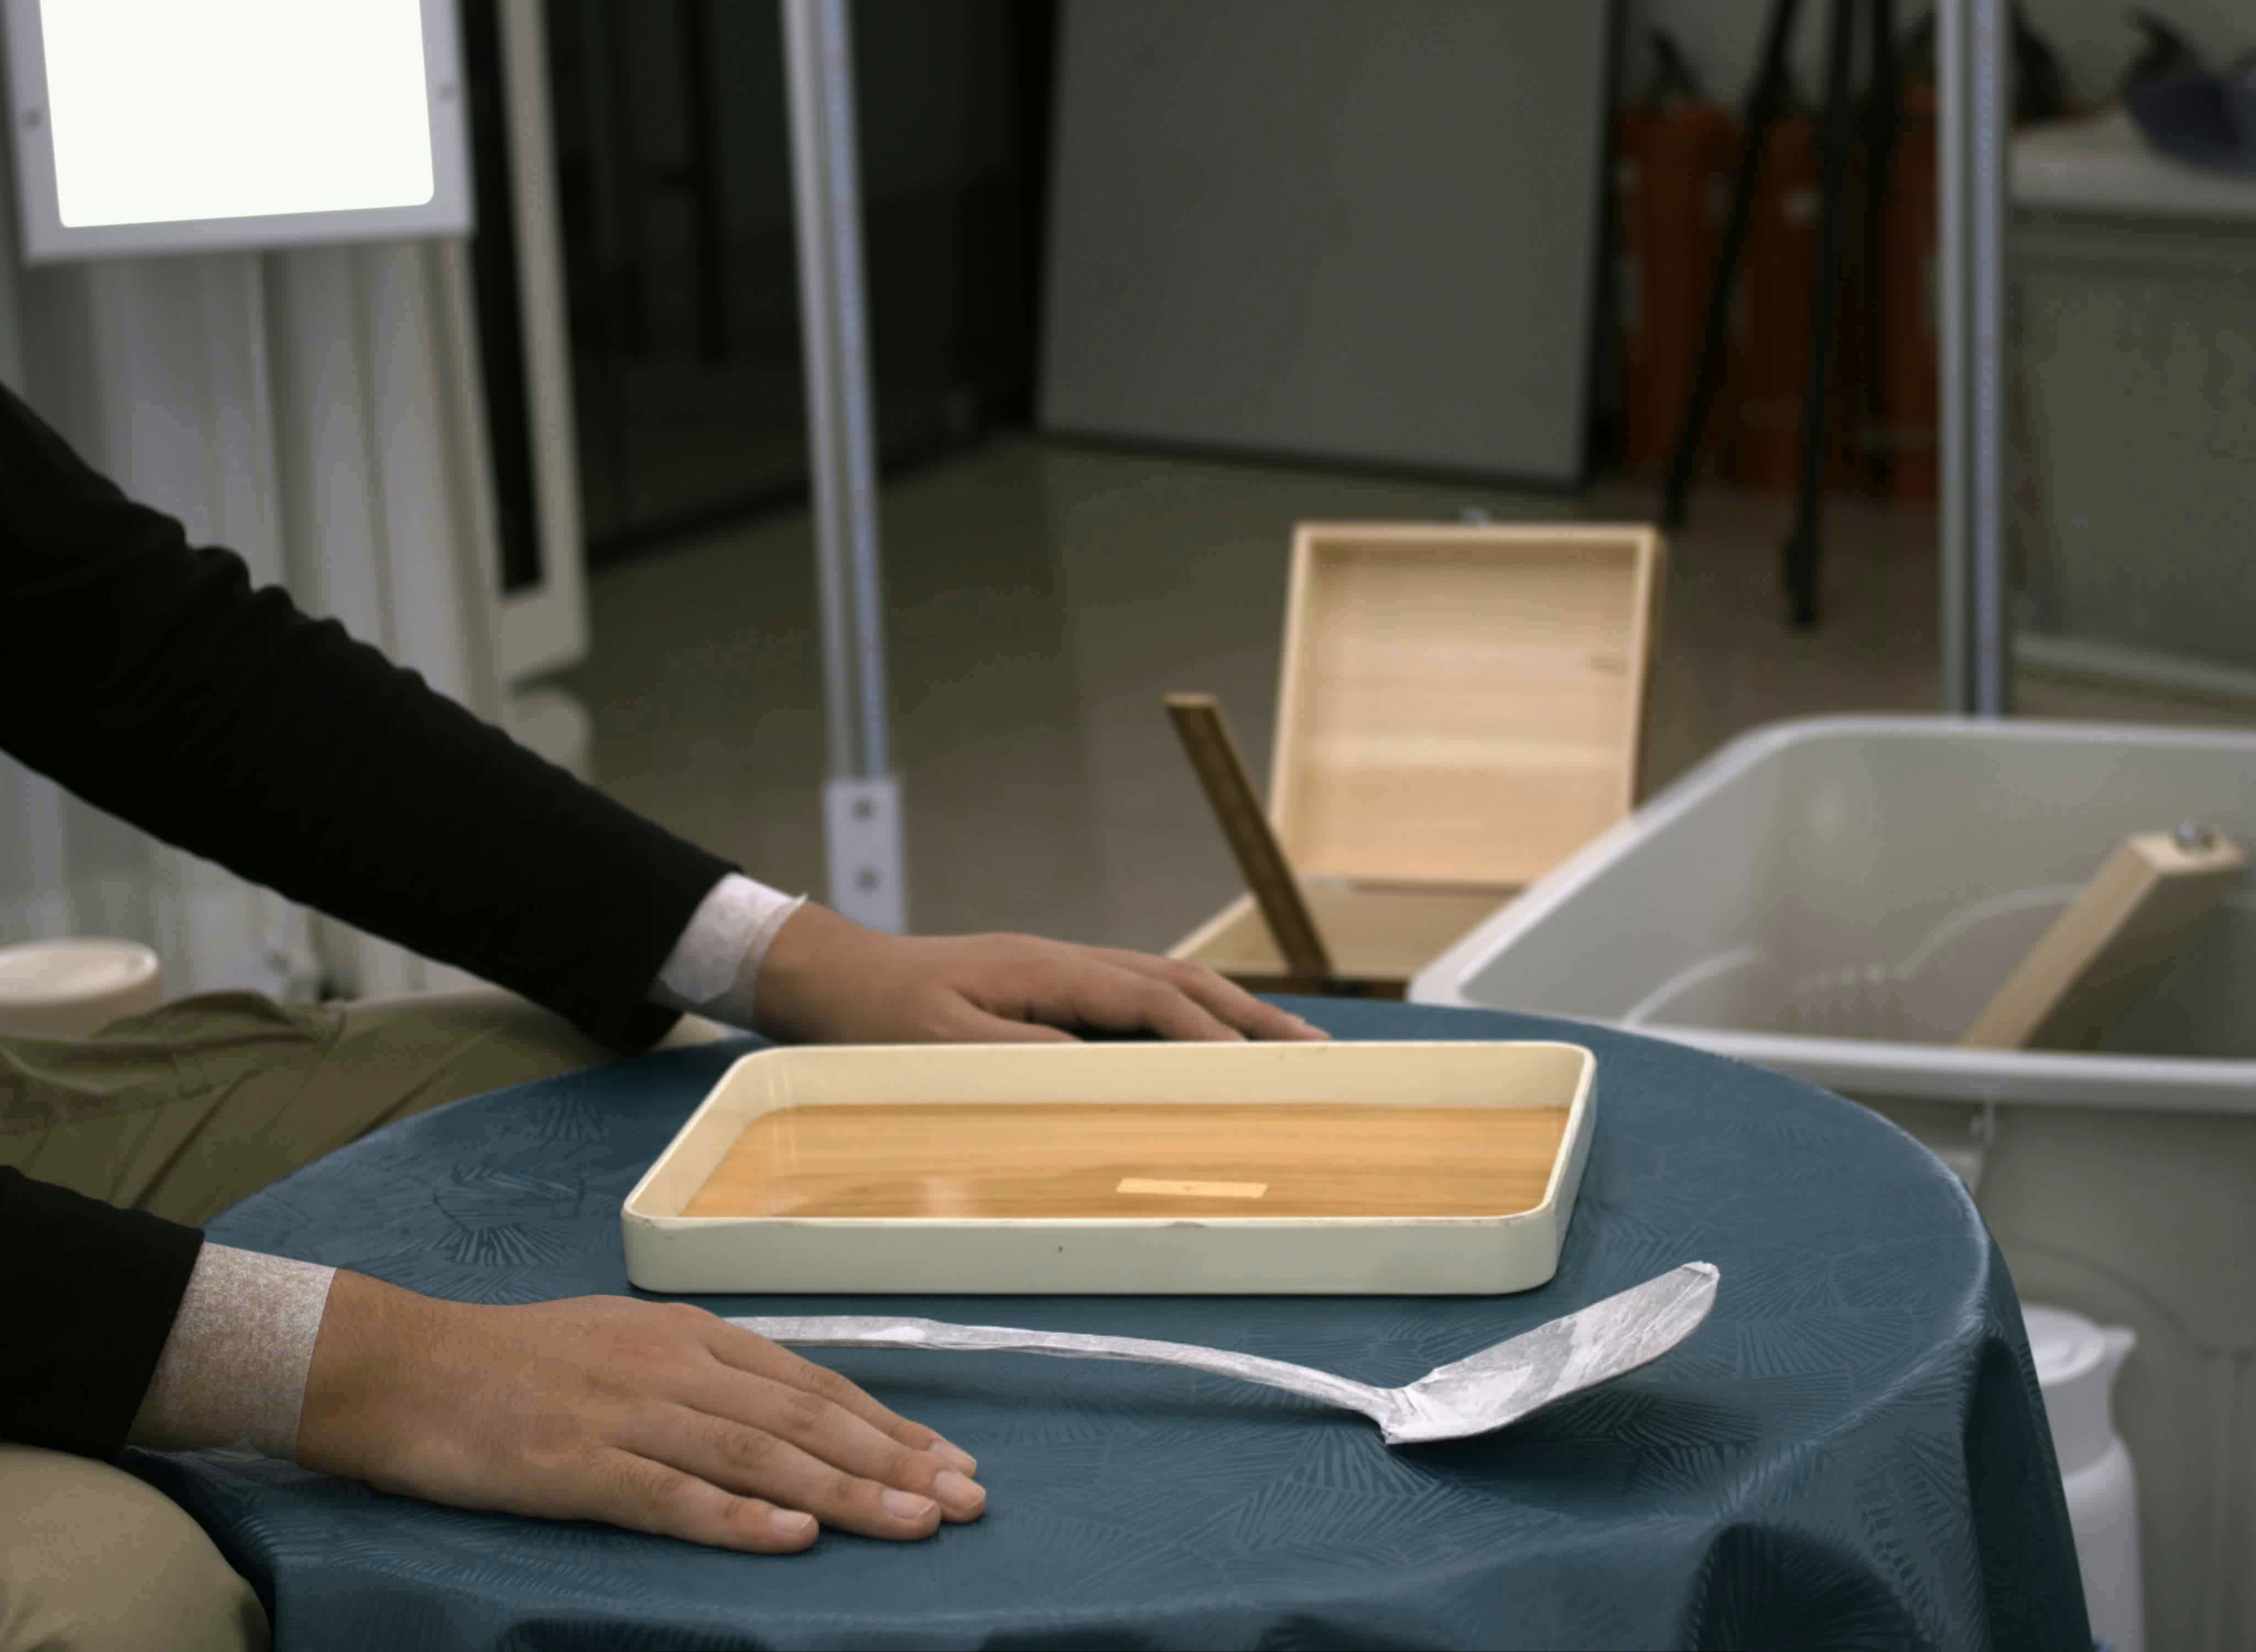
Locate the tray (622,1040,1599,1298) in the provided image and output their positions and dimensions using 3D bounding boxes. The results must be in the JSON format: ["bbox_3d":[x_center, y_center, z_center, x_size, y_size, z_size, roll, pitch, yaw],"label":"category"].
[{"bbox_3d":[-0.001,0.111,1.755,0.298,0.028,0.190,-1,14,12],"label":"tray"}]

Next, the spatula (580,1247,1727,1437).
[{"bbox_3d":[-0.003,0.149,1.577,0.364,0.045,0.098,1,15,21],"label":"spatula"}]
